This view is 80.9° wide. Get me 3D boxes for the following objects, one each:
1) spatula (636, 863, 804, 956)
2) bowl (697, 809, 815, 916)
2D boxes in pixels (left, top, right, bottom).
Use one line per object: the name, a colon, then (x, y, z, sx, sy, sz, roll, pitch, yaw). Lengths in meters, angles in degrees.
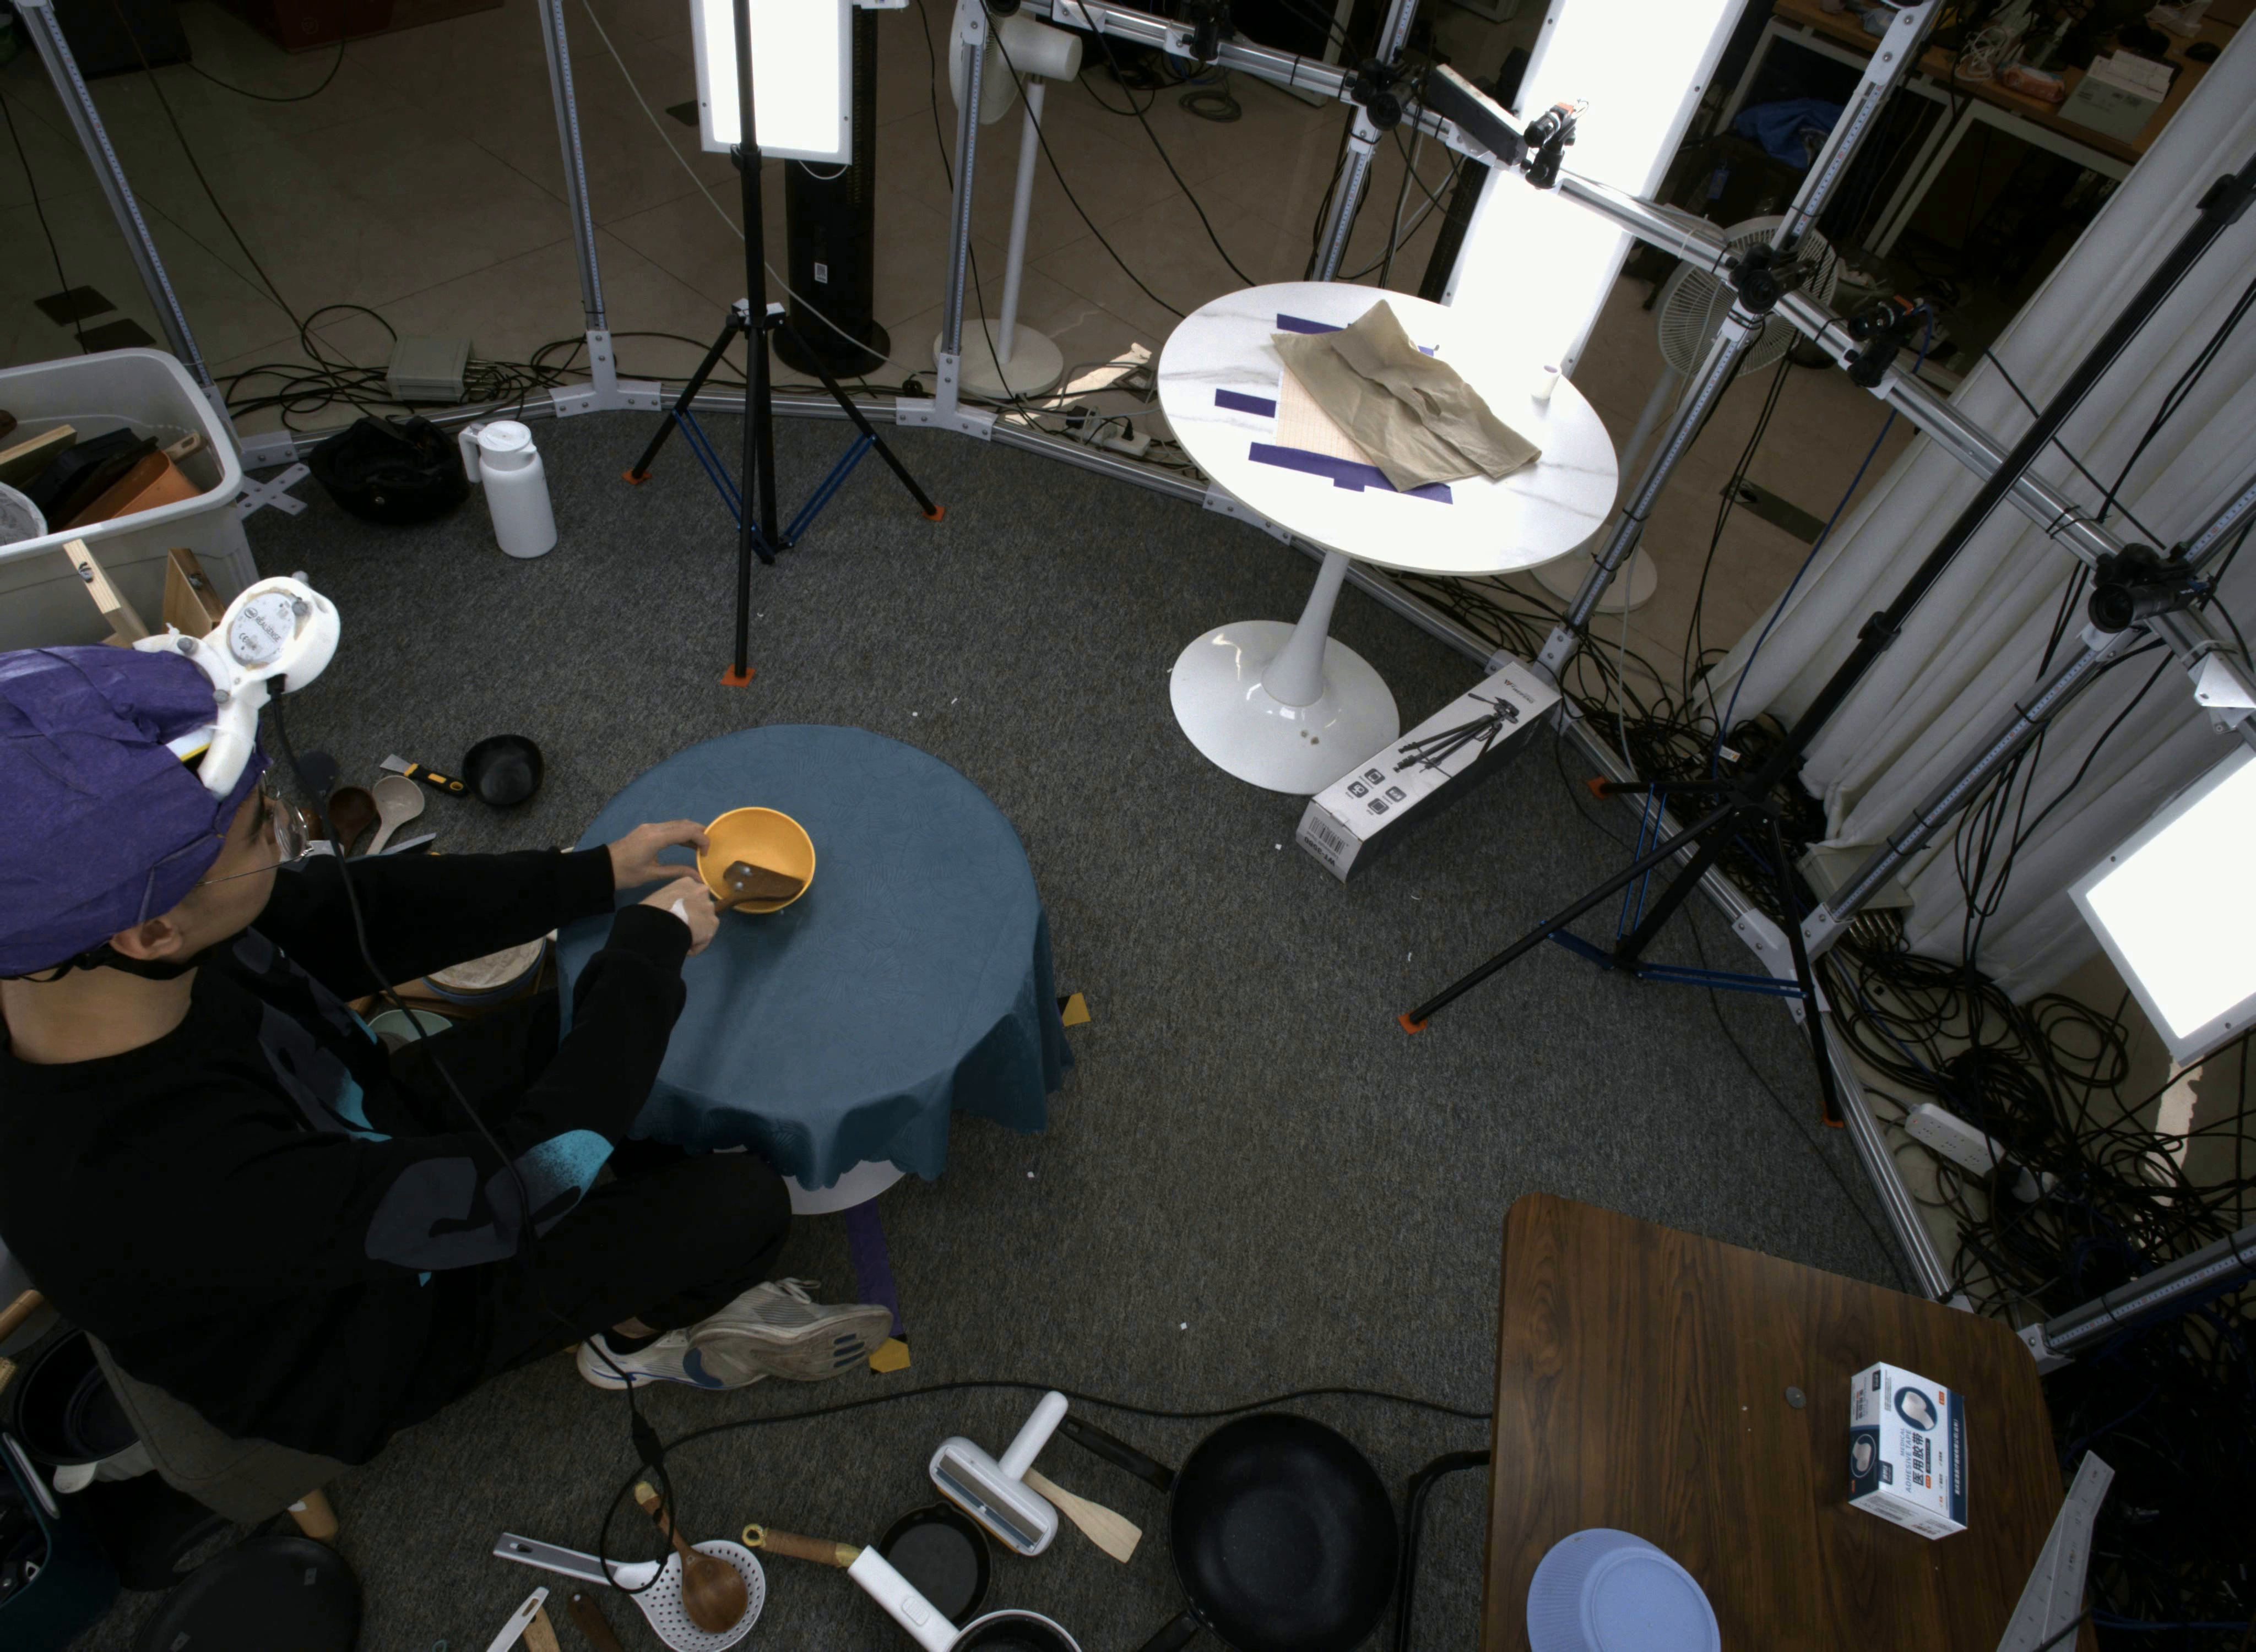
spatula: (-0.464, 0.090, 1.454, 0.095, 0.016, 0.383, 19, 9, 1)
bowl: (-0.470, 0.054, 1.633, 0.146, 0.060, 0.143, 10, 61, -16)
